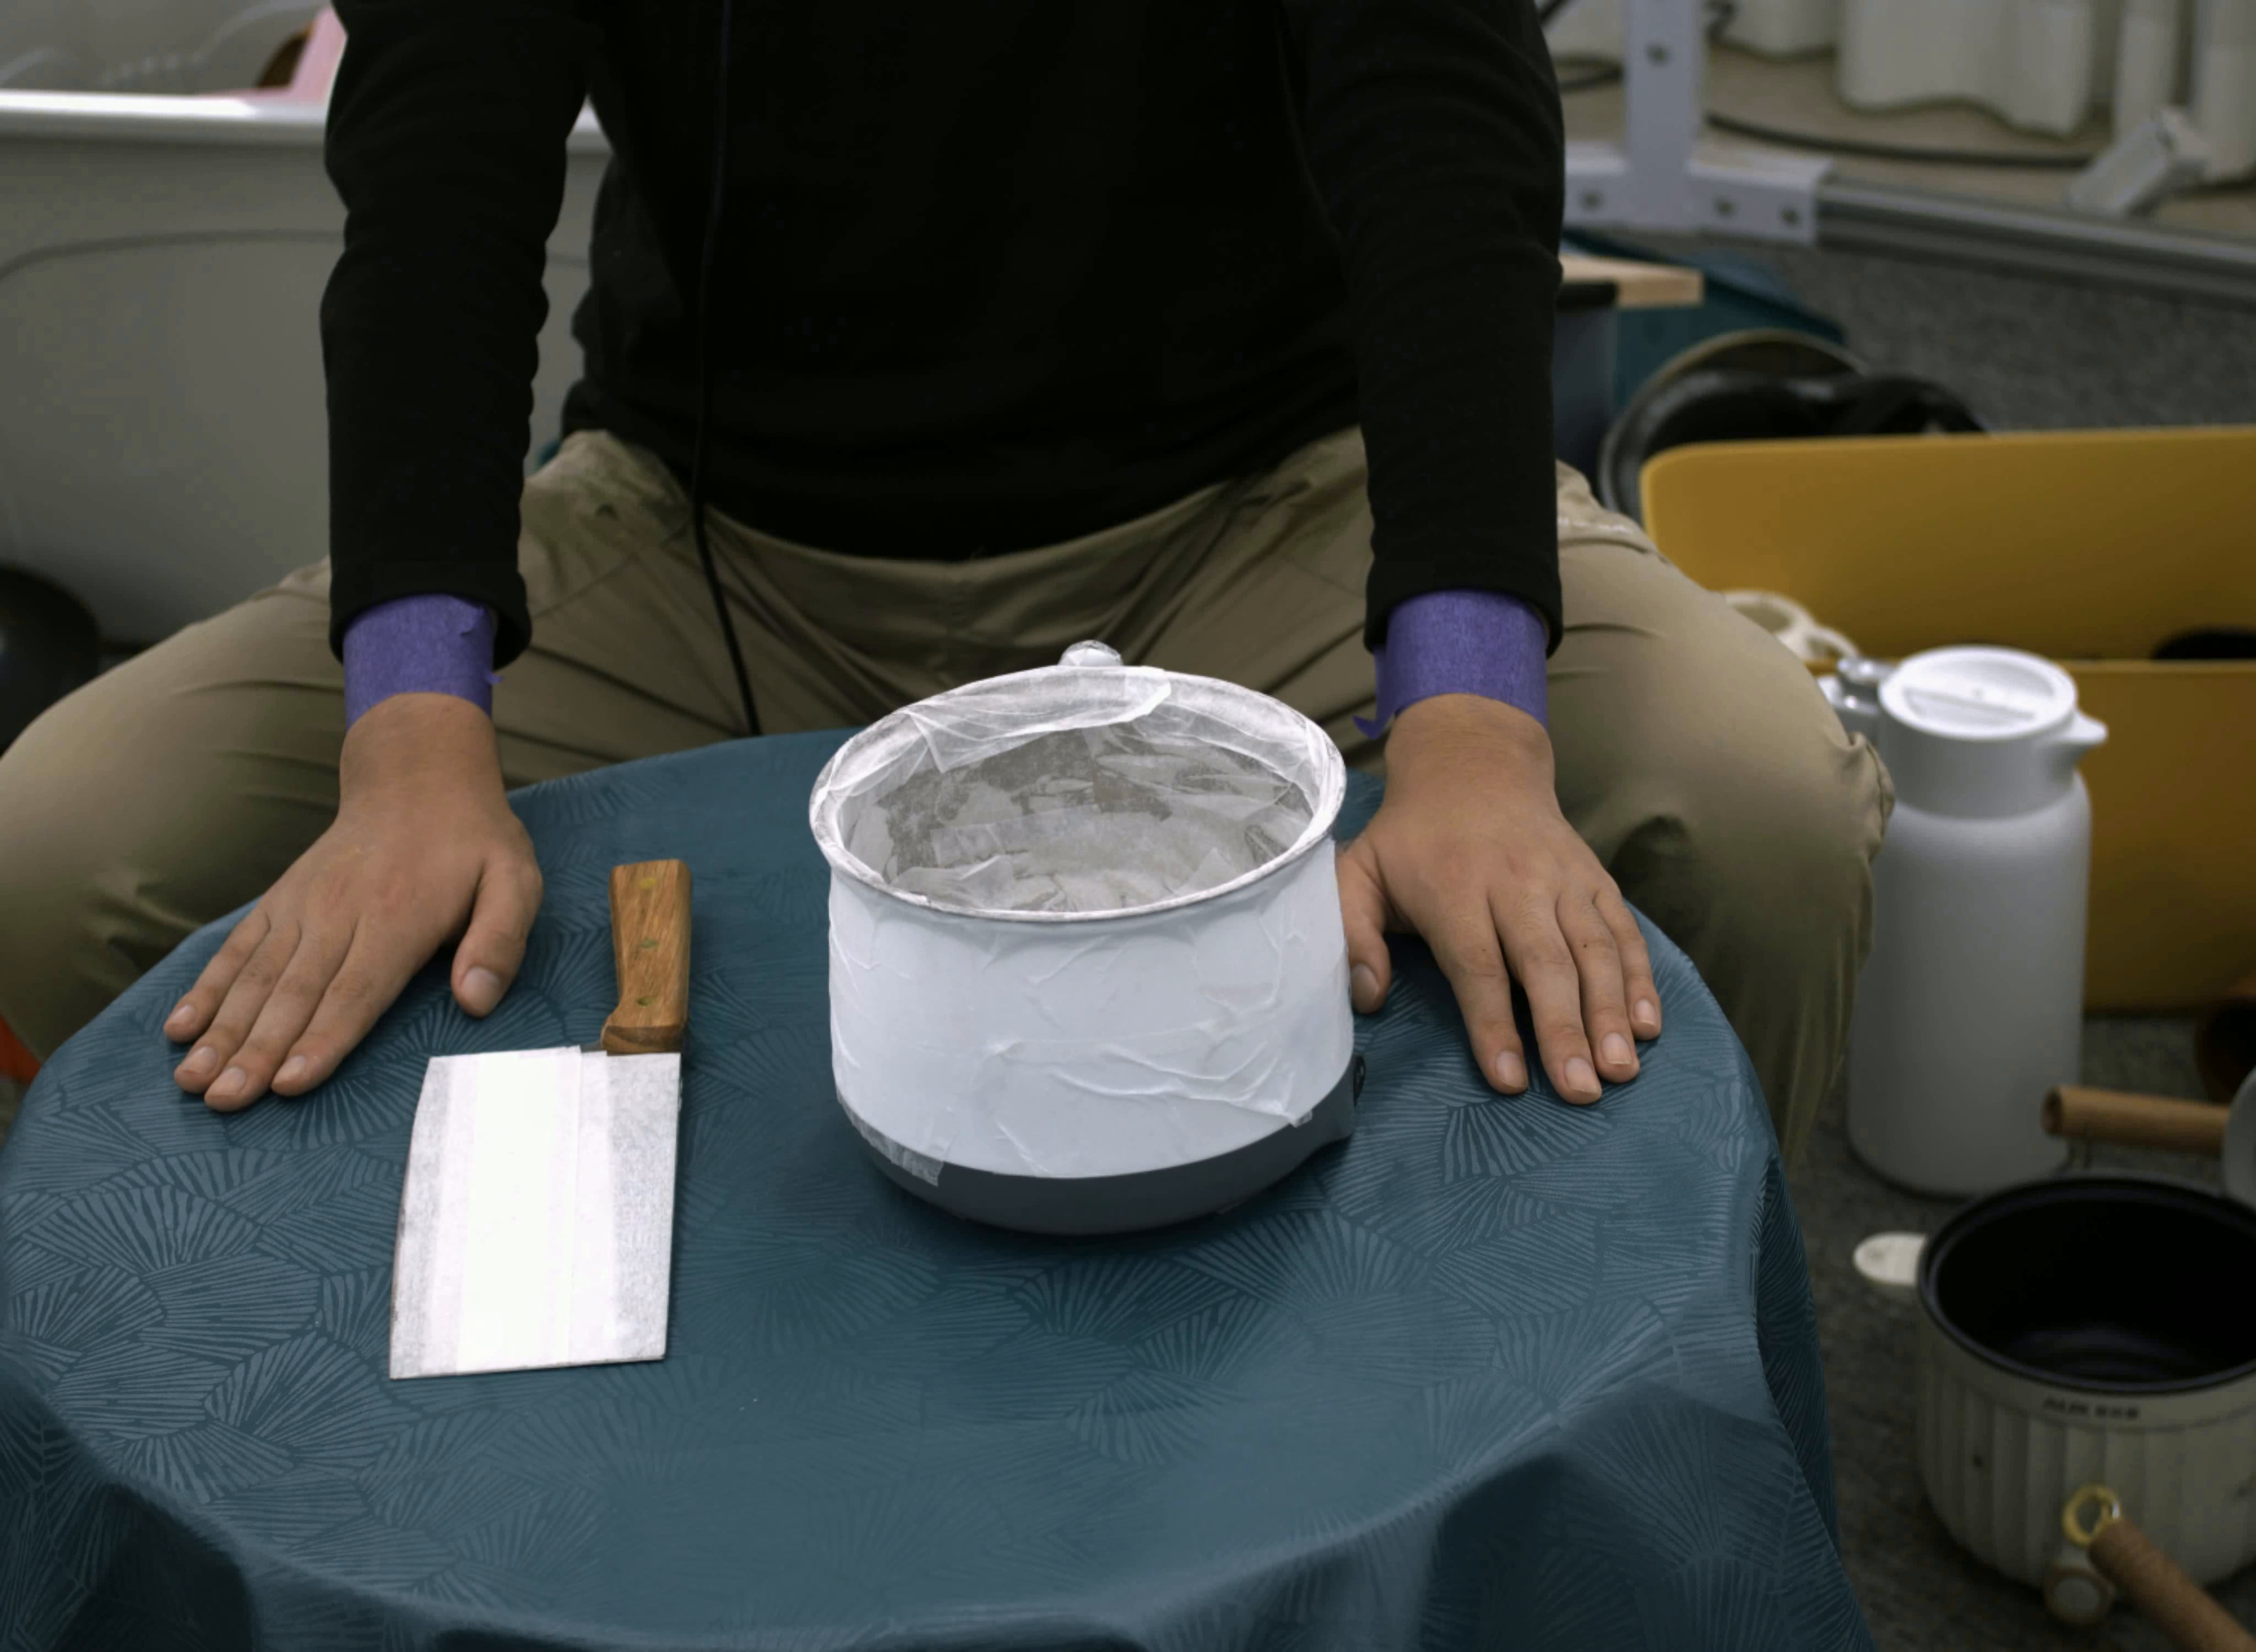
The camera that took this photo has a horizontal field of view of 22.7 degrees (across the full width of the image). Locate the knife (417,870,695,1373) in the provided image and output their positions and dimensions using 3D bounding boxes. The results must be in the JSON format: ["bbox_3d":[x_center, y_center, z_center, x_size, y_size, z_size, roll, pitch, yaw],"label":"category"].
[{"bbox_3d":[-0.195,0.098,1.910,0.092,0.021,0.310,-2,29,-1],"label":"knife"}]

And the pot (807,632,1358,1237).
[{"bbox_3d":[-0.013,0.029,1.889,0.178,0.135,0.237,-2,28,1],"label":"pot"}]
